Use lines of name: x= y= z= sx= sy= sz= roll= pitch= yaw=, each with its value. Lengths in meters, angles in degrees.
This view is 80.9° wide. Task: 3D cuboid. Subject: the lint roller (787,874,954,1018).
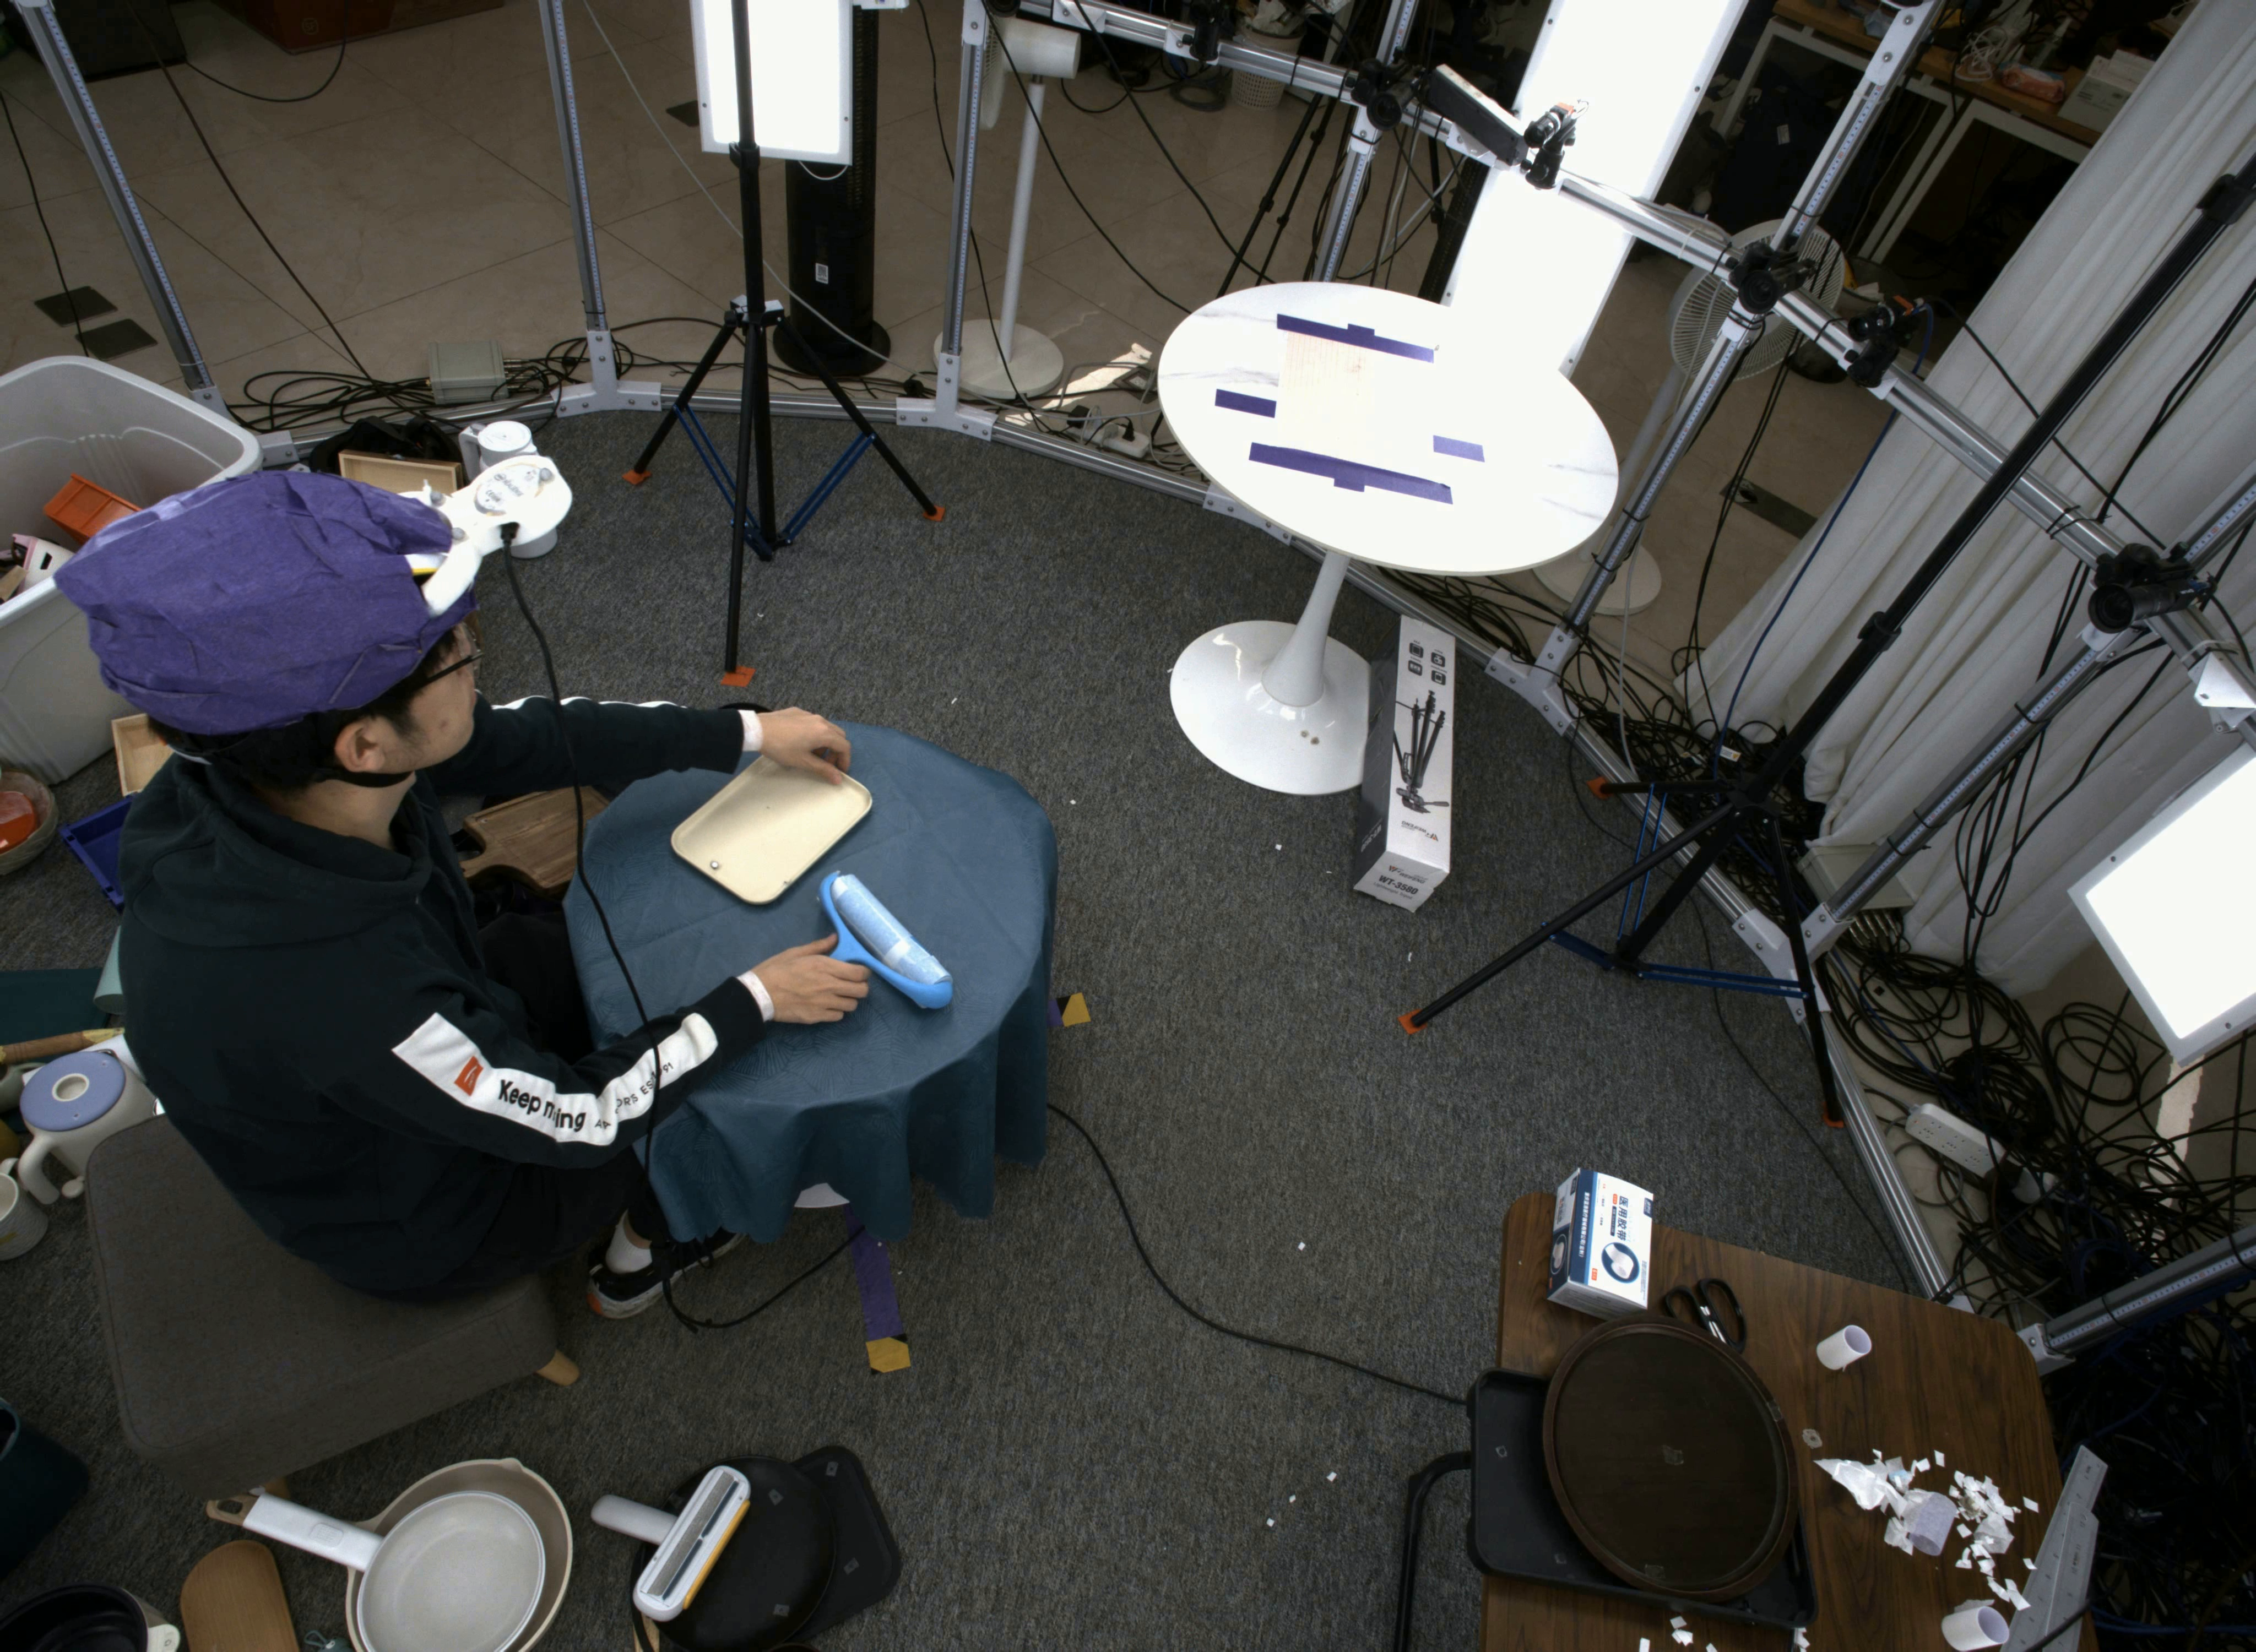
lint roller: x=-0.339 y=0.166 z=1.589 sx=0.224 sy=0.069 sz=0.180 roll=41 pitch=51 yaw=15

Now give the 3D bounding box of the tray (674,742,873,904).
tray: x=-0.466 y=-0.007 z=1.712 sx=0.168 sy=0.018 sz=0.239 roll=32 pitch=53 yaw=11
